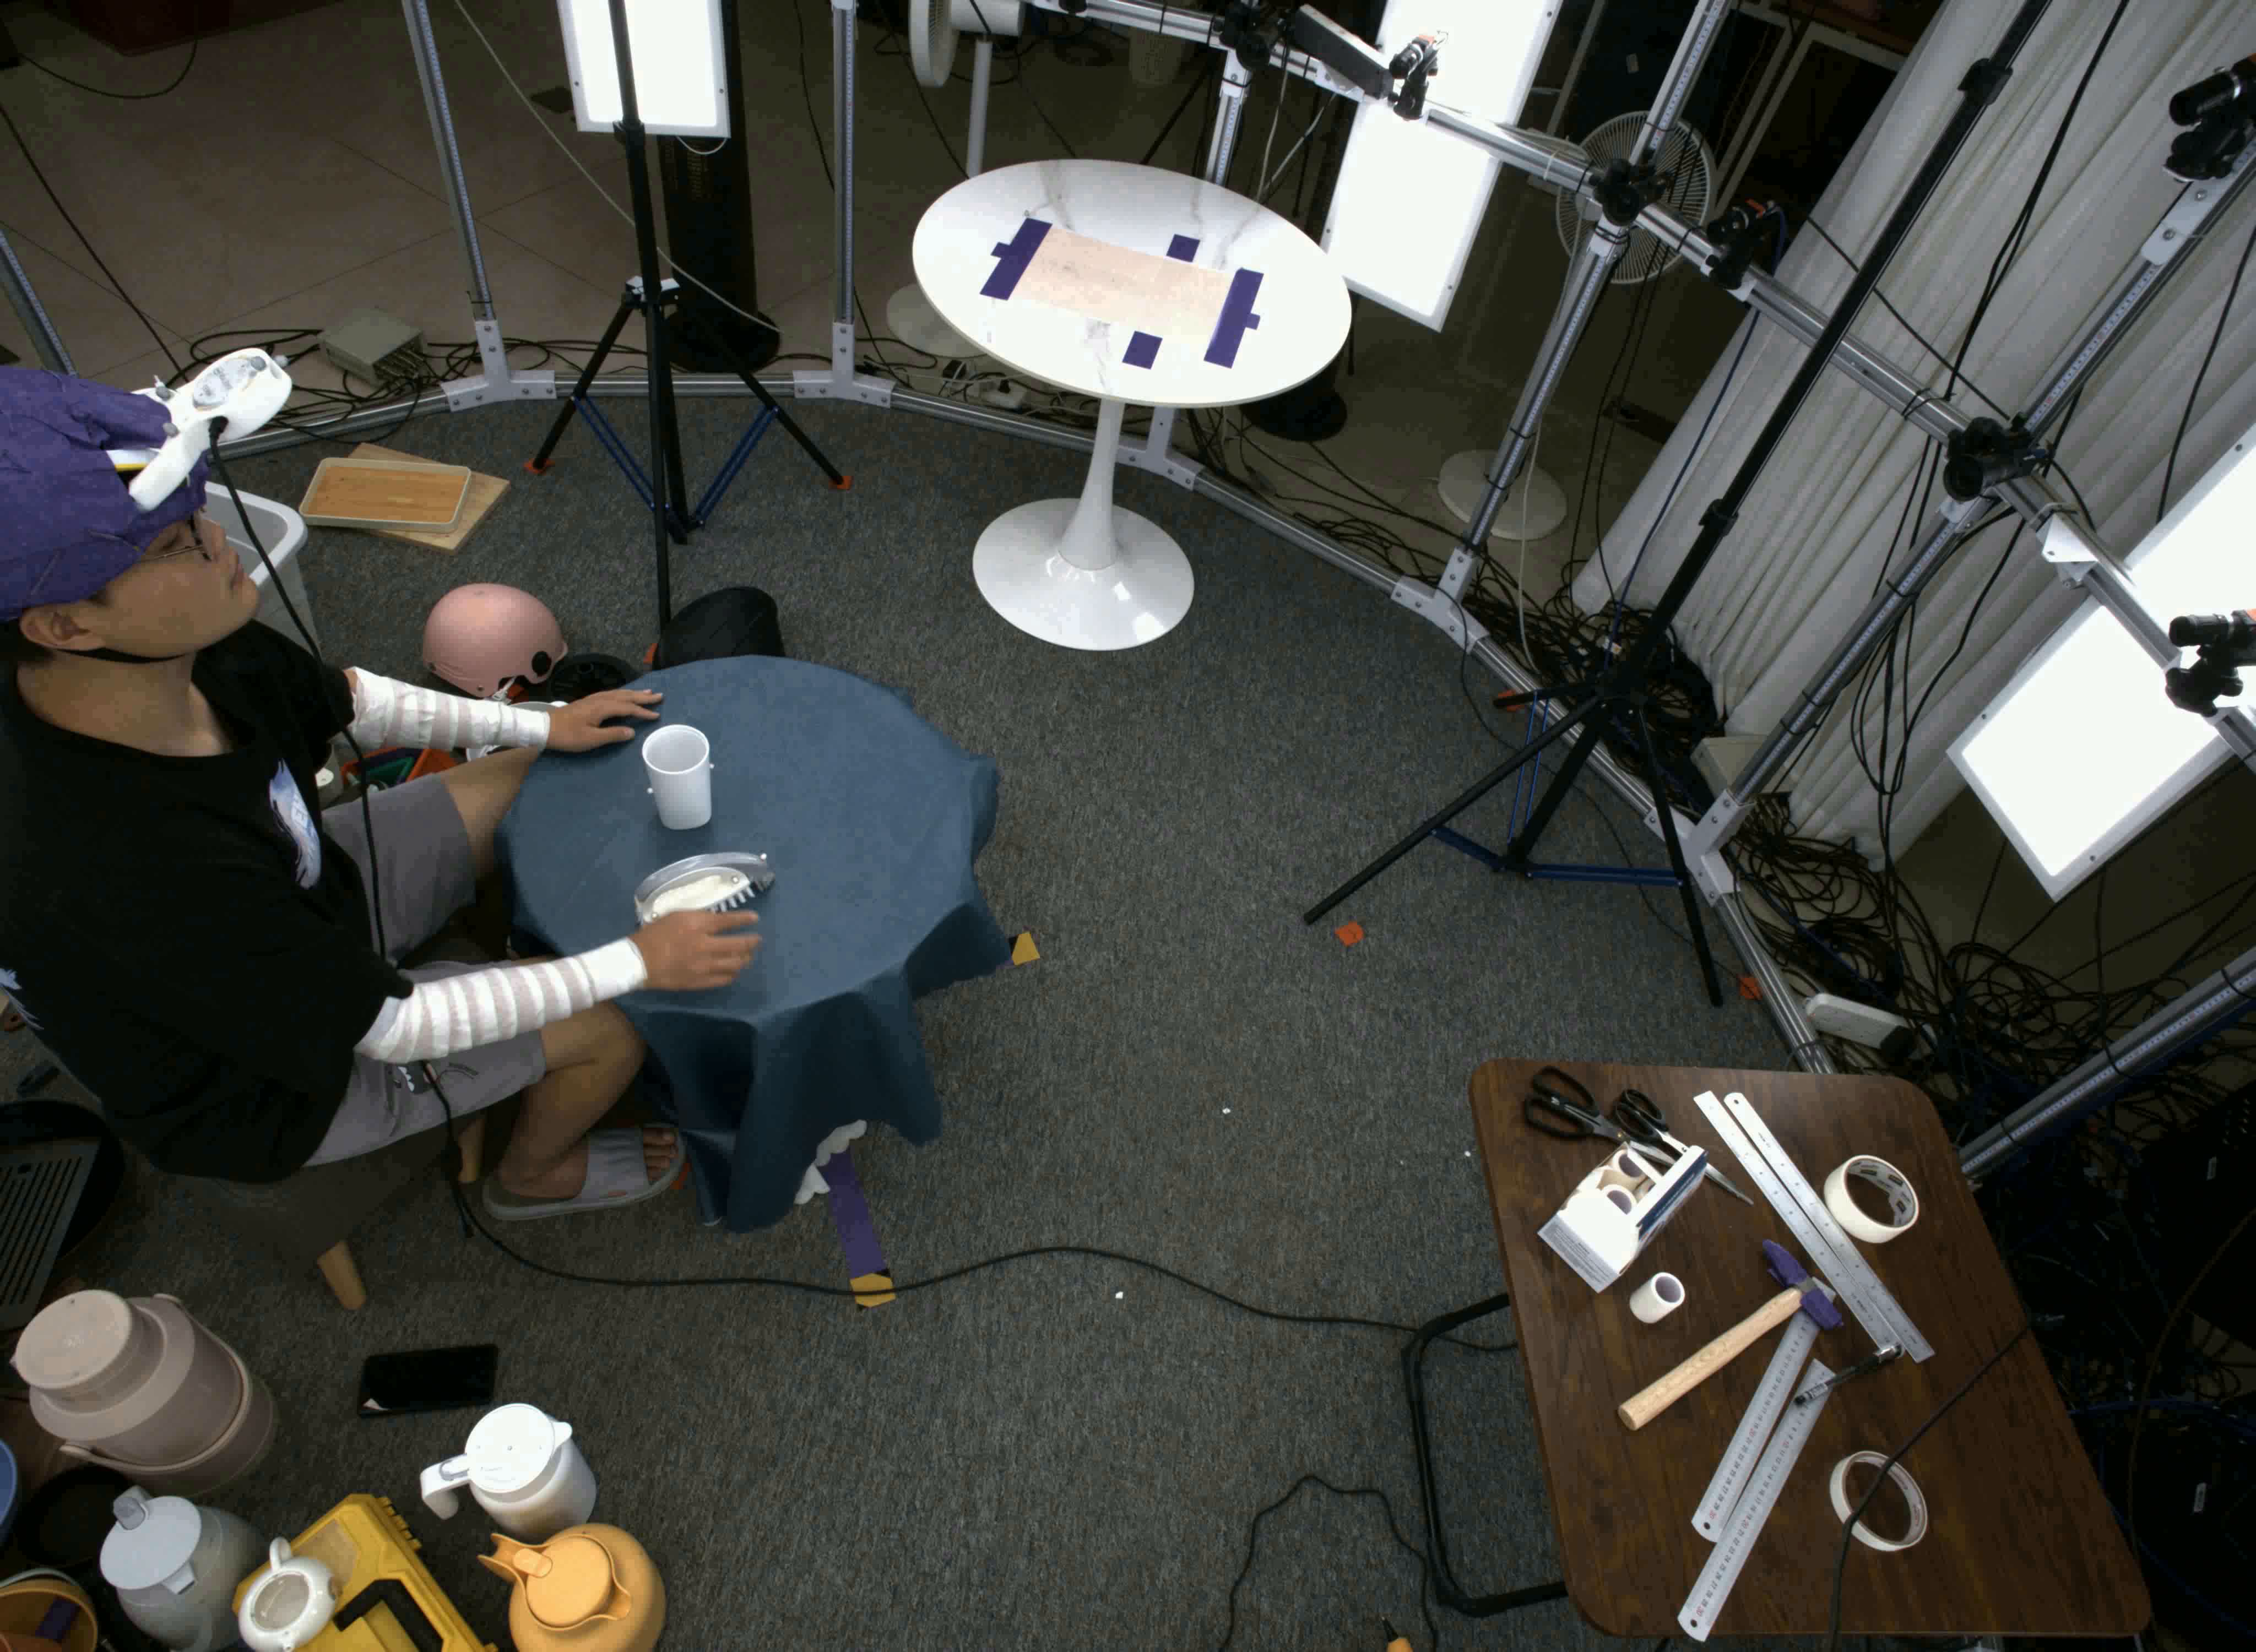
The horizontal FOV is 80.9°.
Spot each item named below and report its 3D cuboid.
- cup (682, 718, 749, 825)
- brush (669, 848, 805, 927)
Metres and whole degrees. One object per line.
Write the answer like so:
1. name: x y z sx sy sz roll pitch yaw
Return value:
1. cup: -0.533 -0.068 1.677 0.081 0.128 0.080 7 52 -7
2. brush: -0.488 0.059 1.616 0.176 0.095 0.060 -17 63 -26
